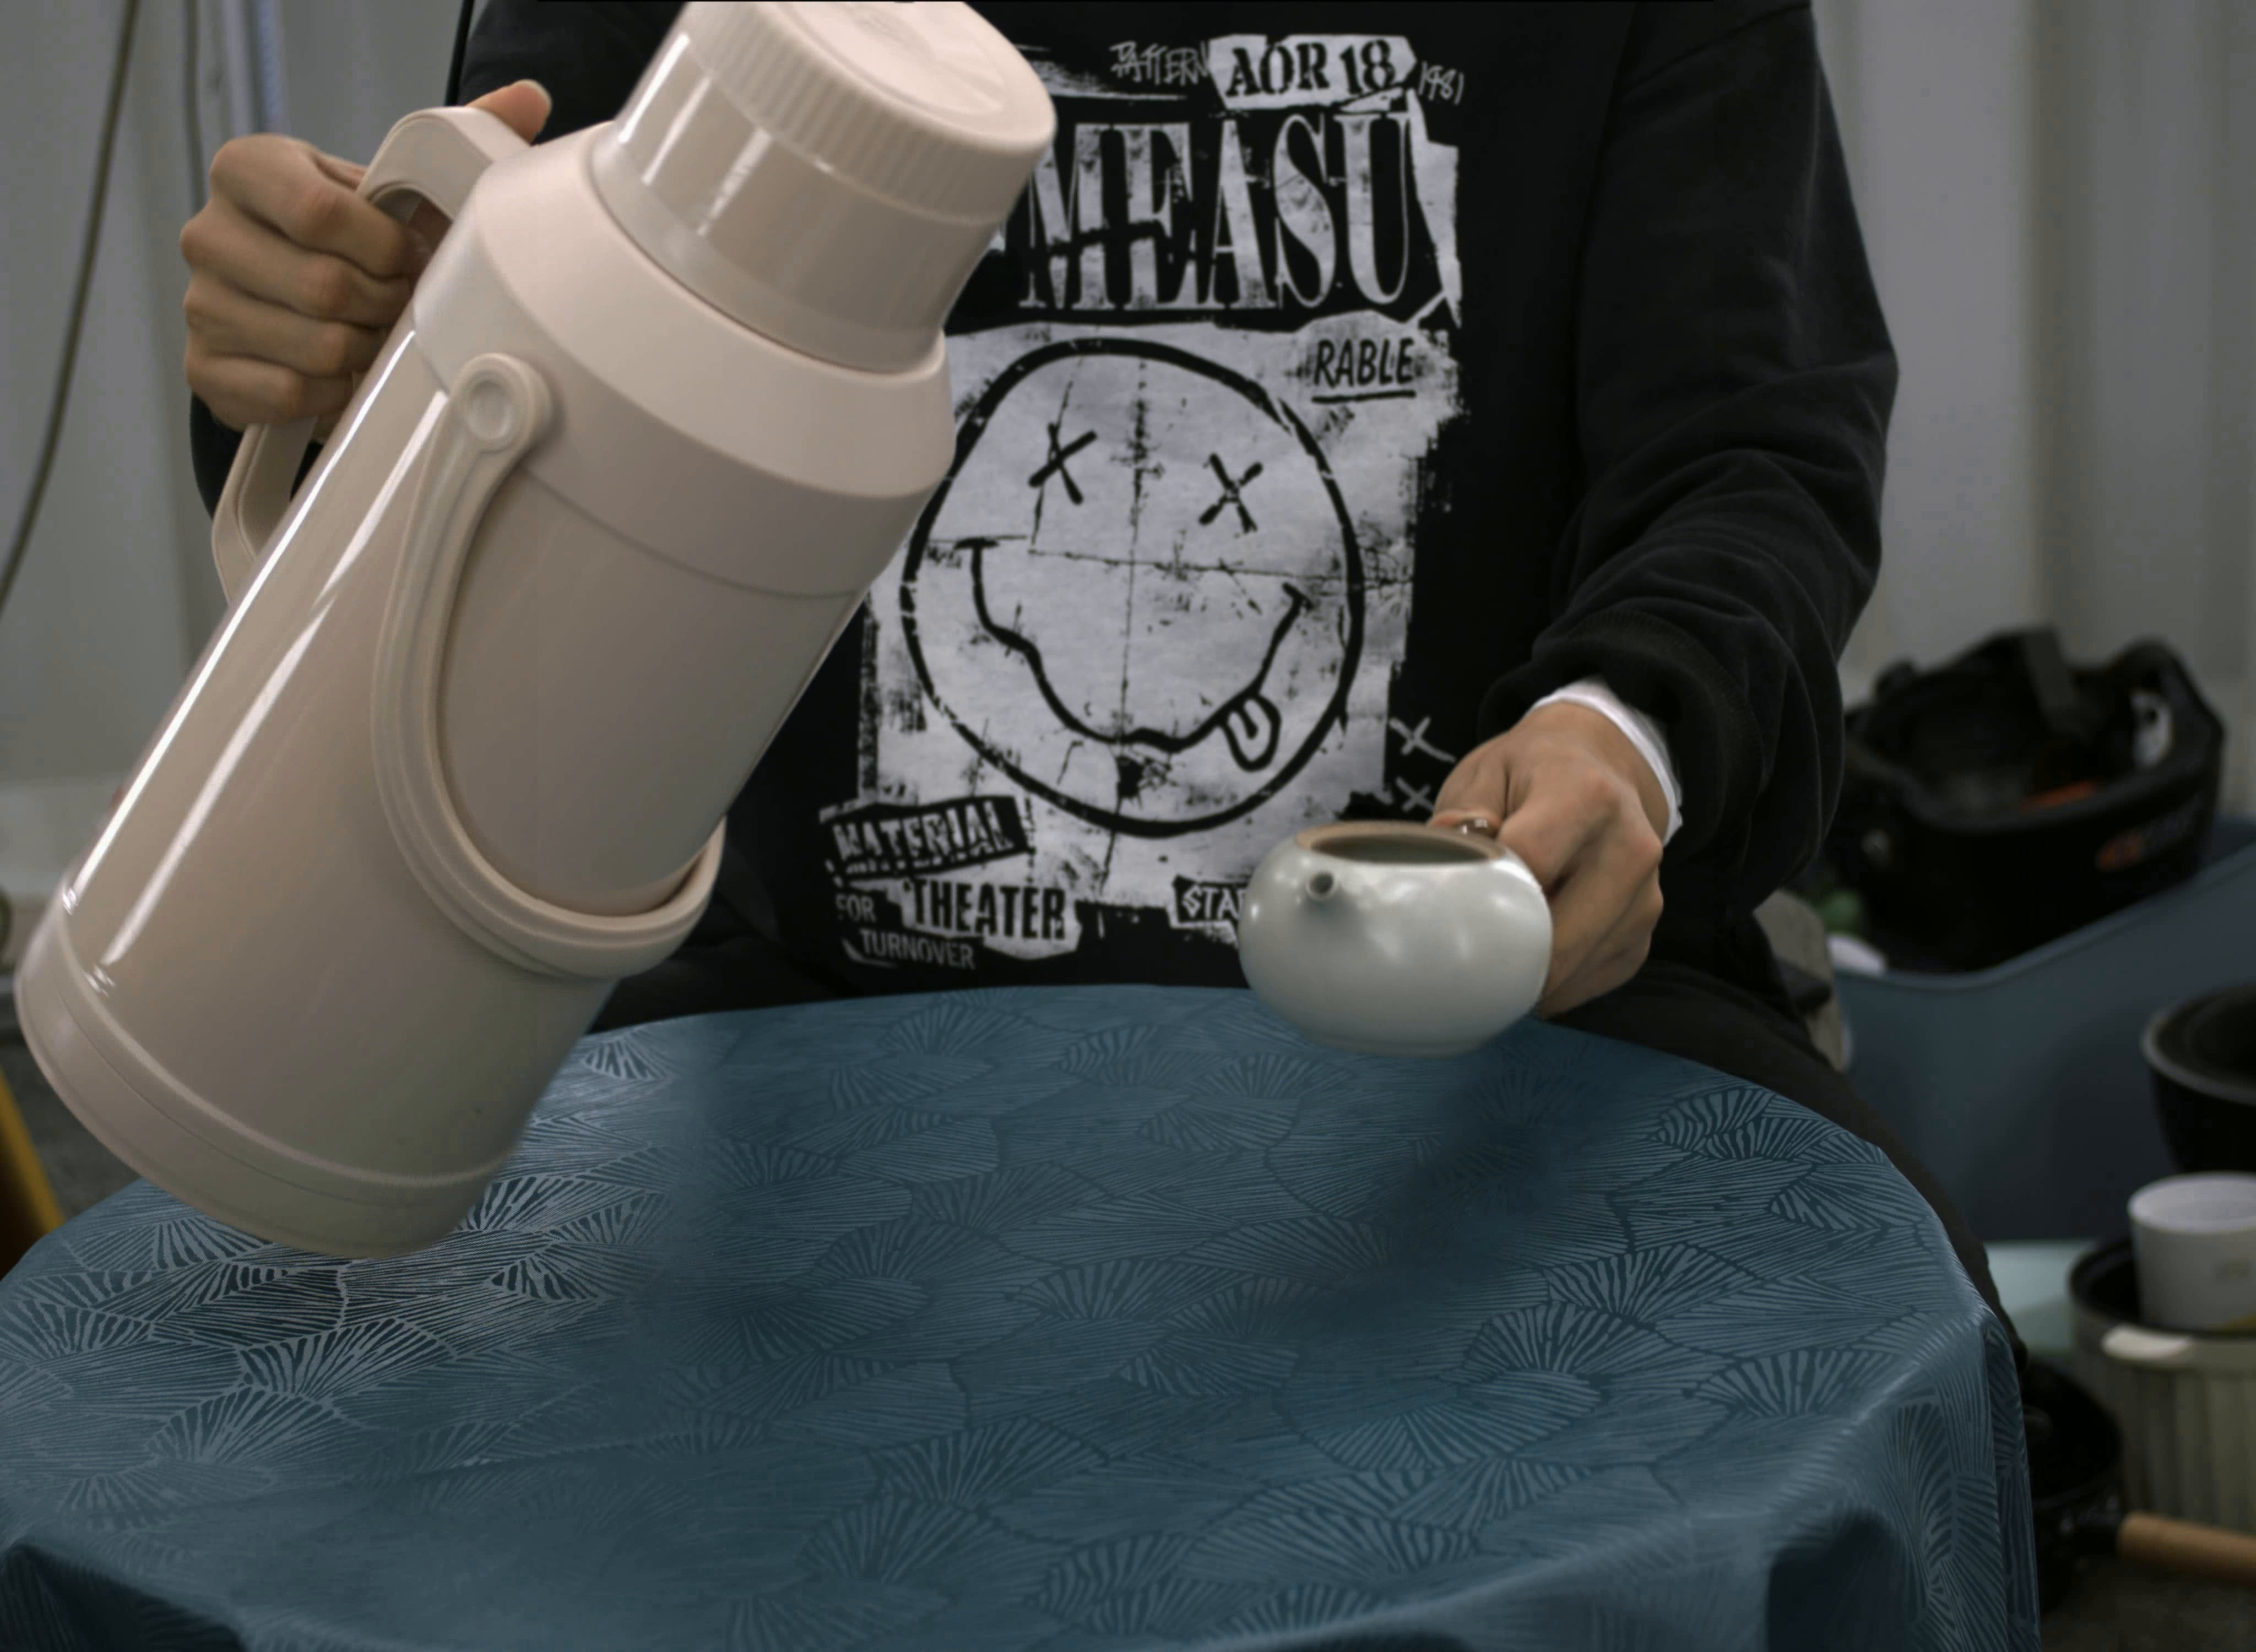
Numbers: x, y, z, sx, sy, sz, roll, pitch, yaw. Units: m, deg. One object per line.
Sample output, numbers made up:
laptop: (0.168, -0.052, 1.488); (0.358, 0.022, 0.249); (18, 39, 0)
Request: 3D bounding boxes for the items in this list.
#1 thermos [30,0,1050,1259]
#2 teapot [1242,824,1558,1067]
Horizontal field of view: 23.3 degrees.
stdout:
thermos: (-0.174, -0.080, 1.598); (0.208, 0.404, 0.175); (43, 27, 19)
teapot: (0.083, 0.033, 1.592); (0.092, 0.059, 0.128); (5, 12, 26)
